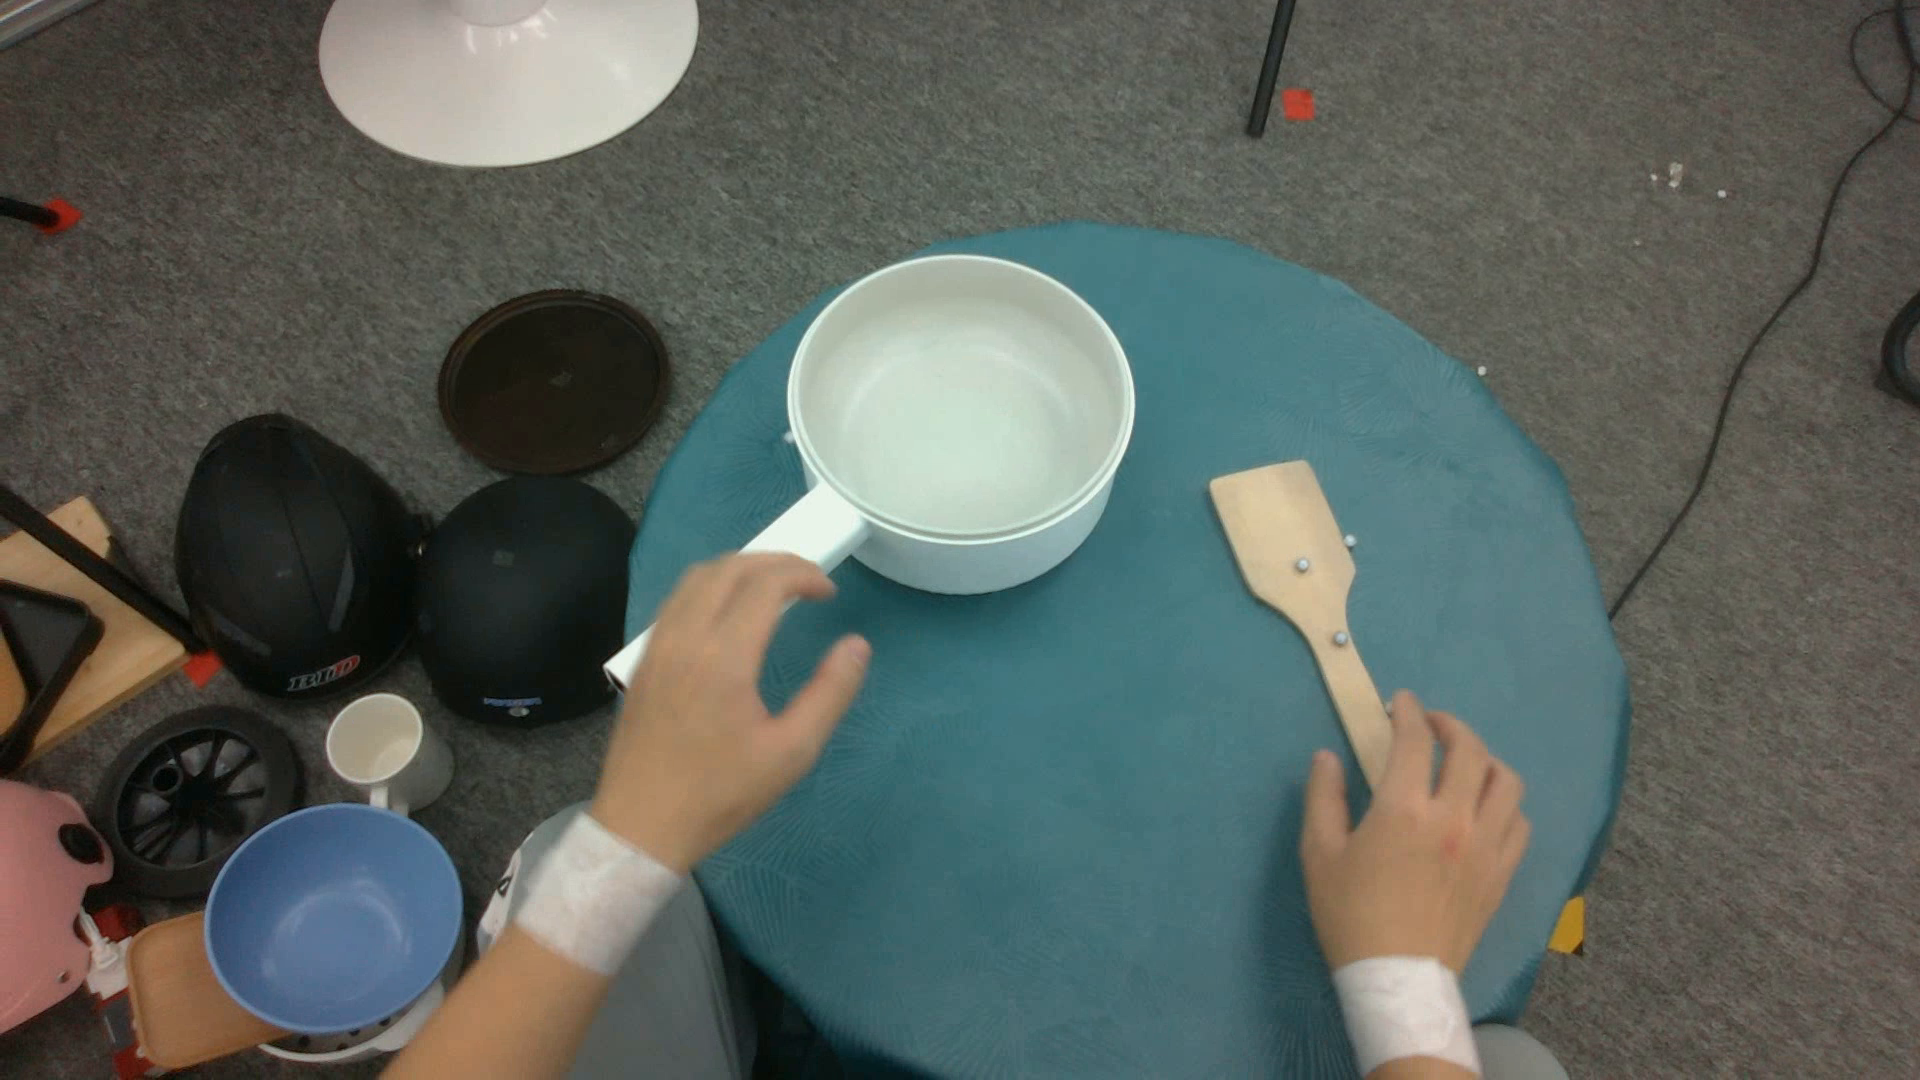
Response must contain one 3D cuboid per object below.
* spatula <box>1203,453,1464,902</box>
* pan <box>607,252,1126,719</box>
[{"bbox_3d":[0.229,0.074,0.826,0.072,0.010,0.294,-13,62,-10],"label":"spatula"},{"bbox_3d":[-0.055,-0.019,0.820,0.201,0.101,0.356,39,67,16],"label":"pan"}]
